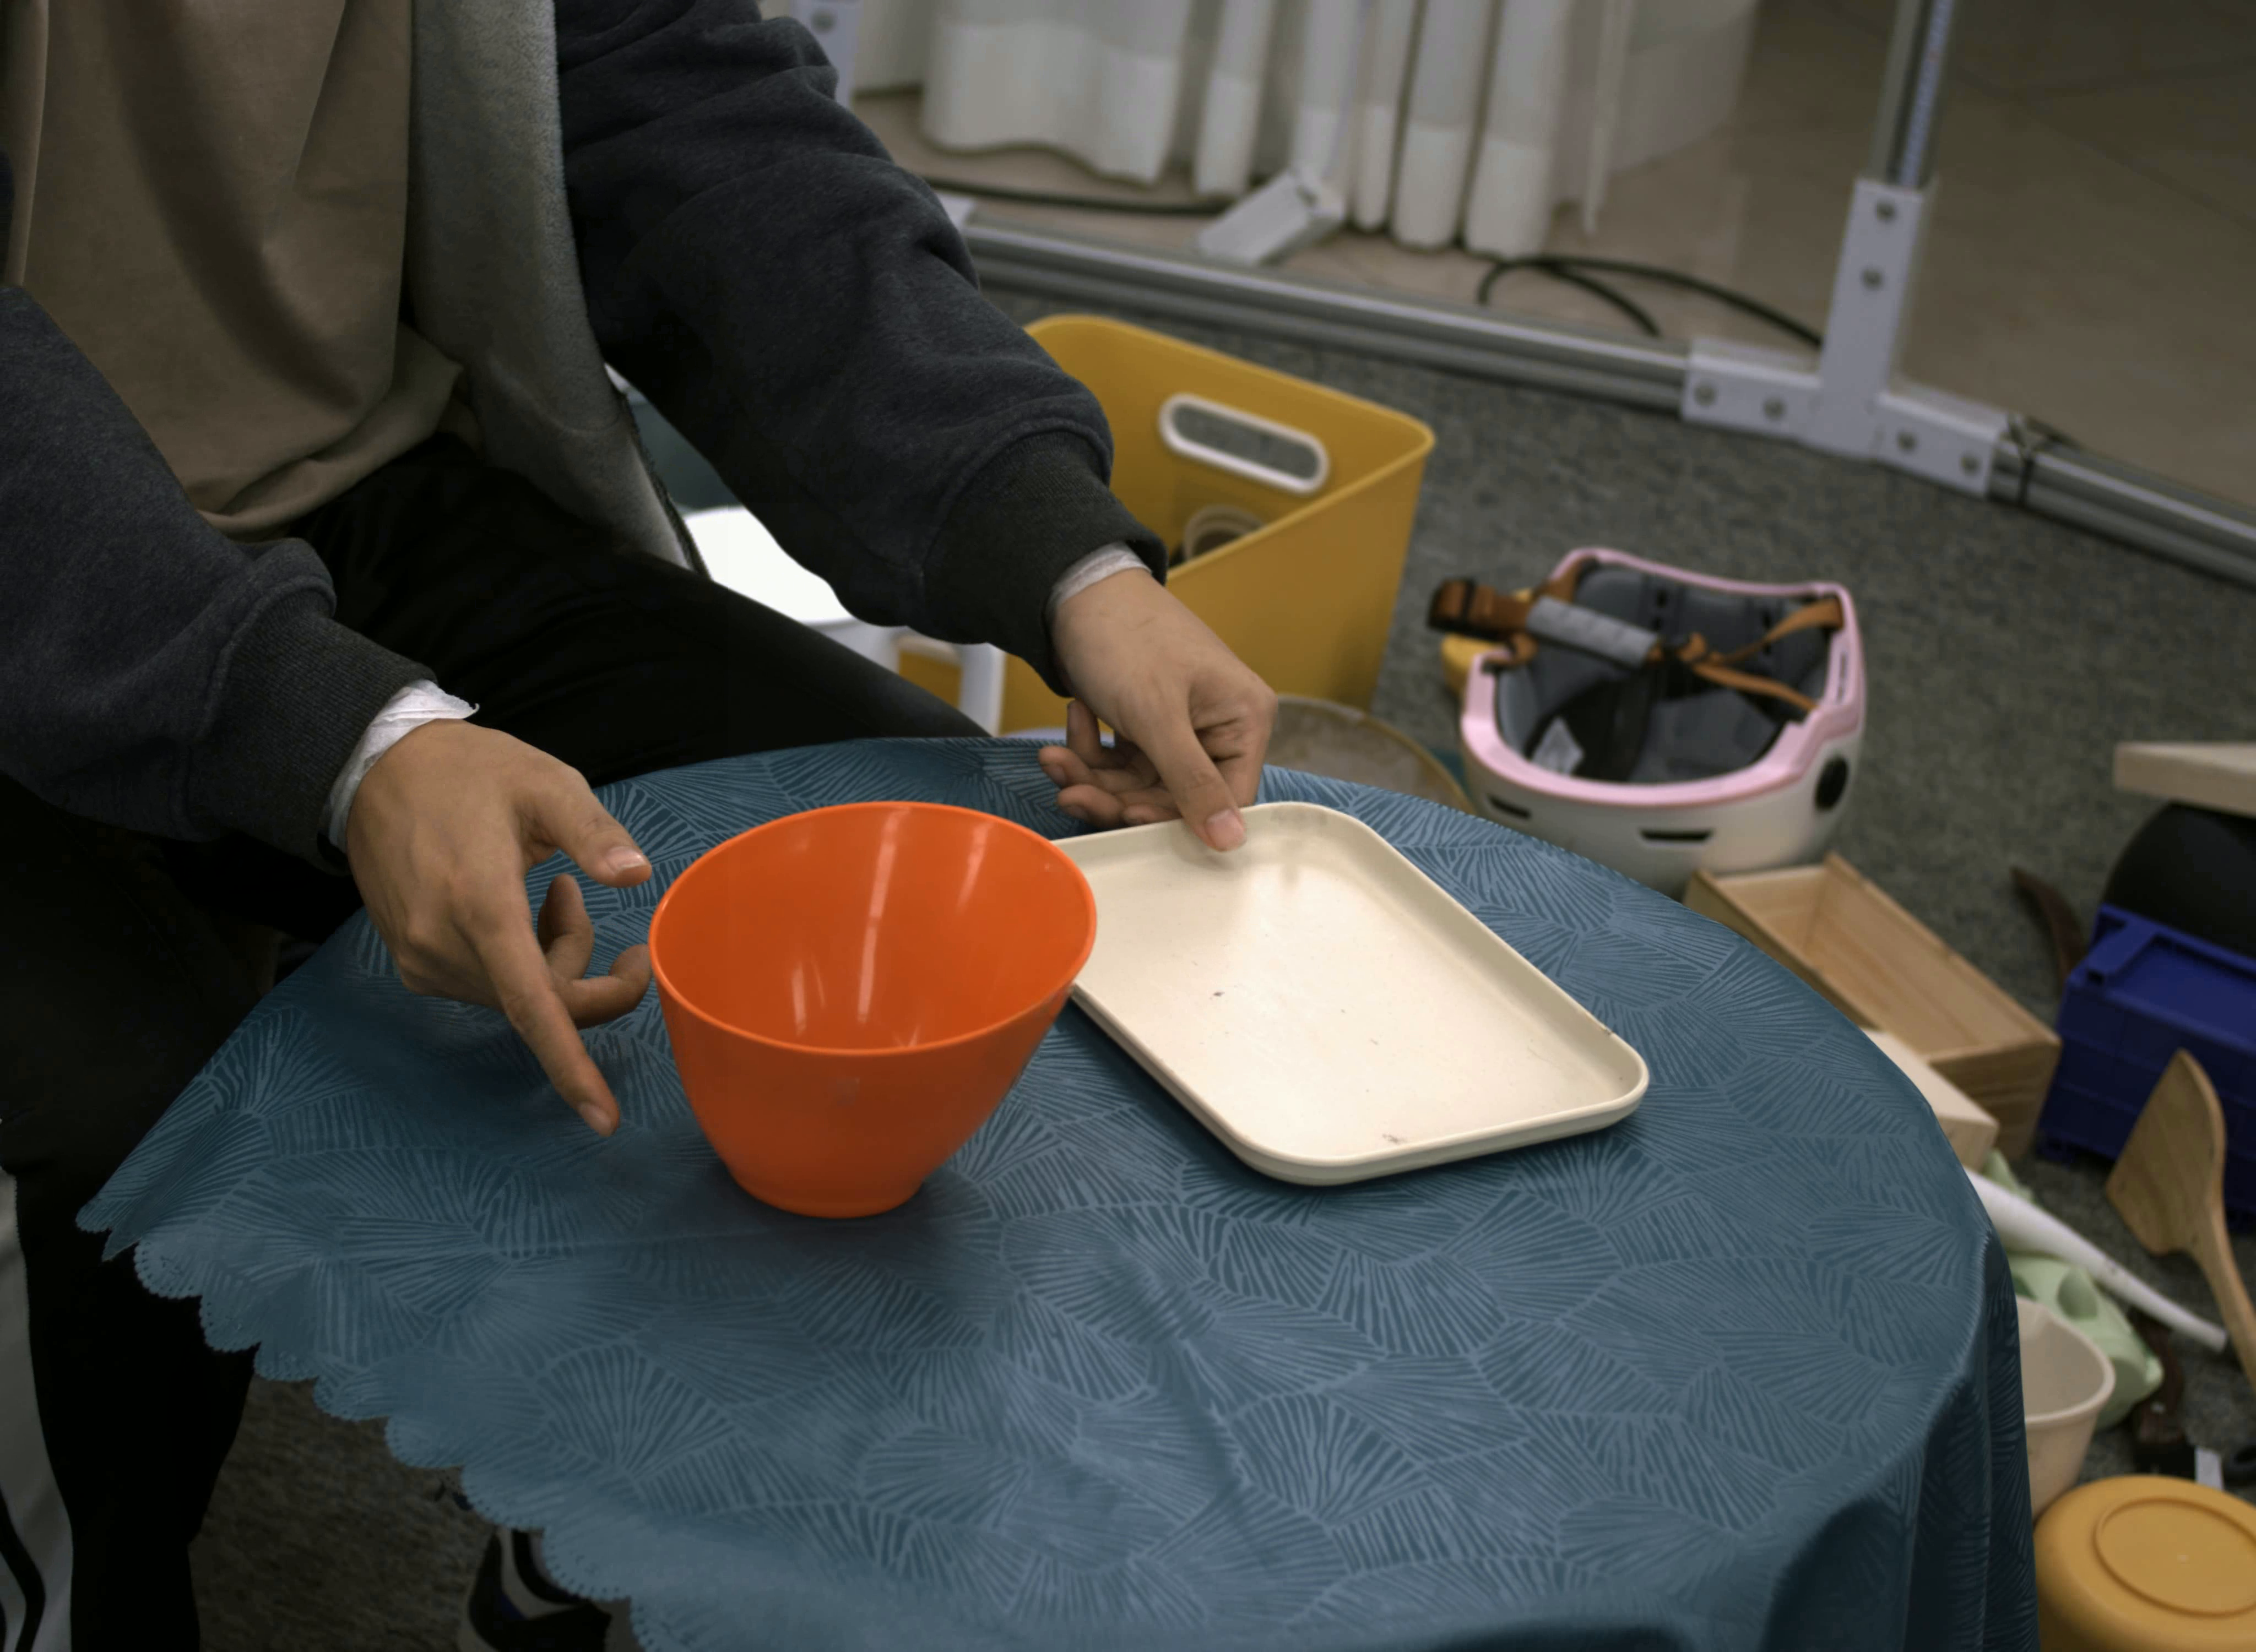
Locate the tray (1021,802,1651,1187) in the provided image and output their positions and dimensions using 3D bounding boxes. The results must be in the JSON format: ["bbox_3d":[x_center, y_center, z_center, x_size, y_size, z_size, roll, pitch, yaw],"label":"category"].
[{"bbox_3d":[0.063,0.059,1.922,0.170,0.017,0.242,-10,31,-28],"label":"tray"}]

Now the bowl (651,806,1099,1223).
[{"bbox_3d":[-0.088,0.069,1.778,0.147,0.104,0.149,7,27,-4],"label":"bowl"}]
